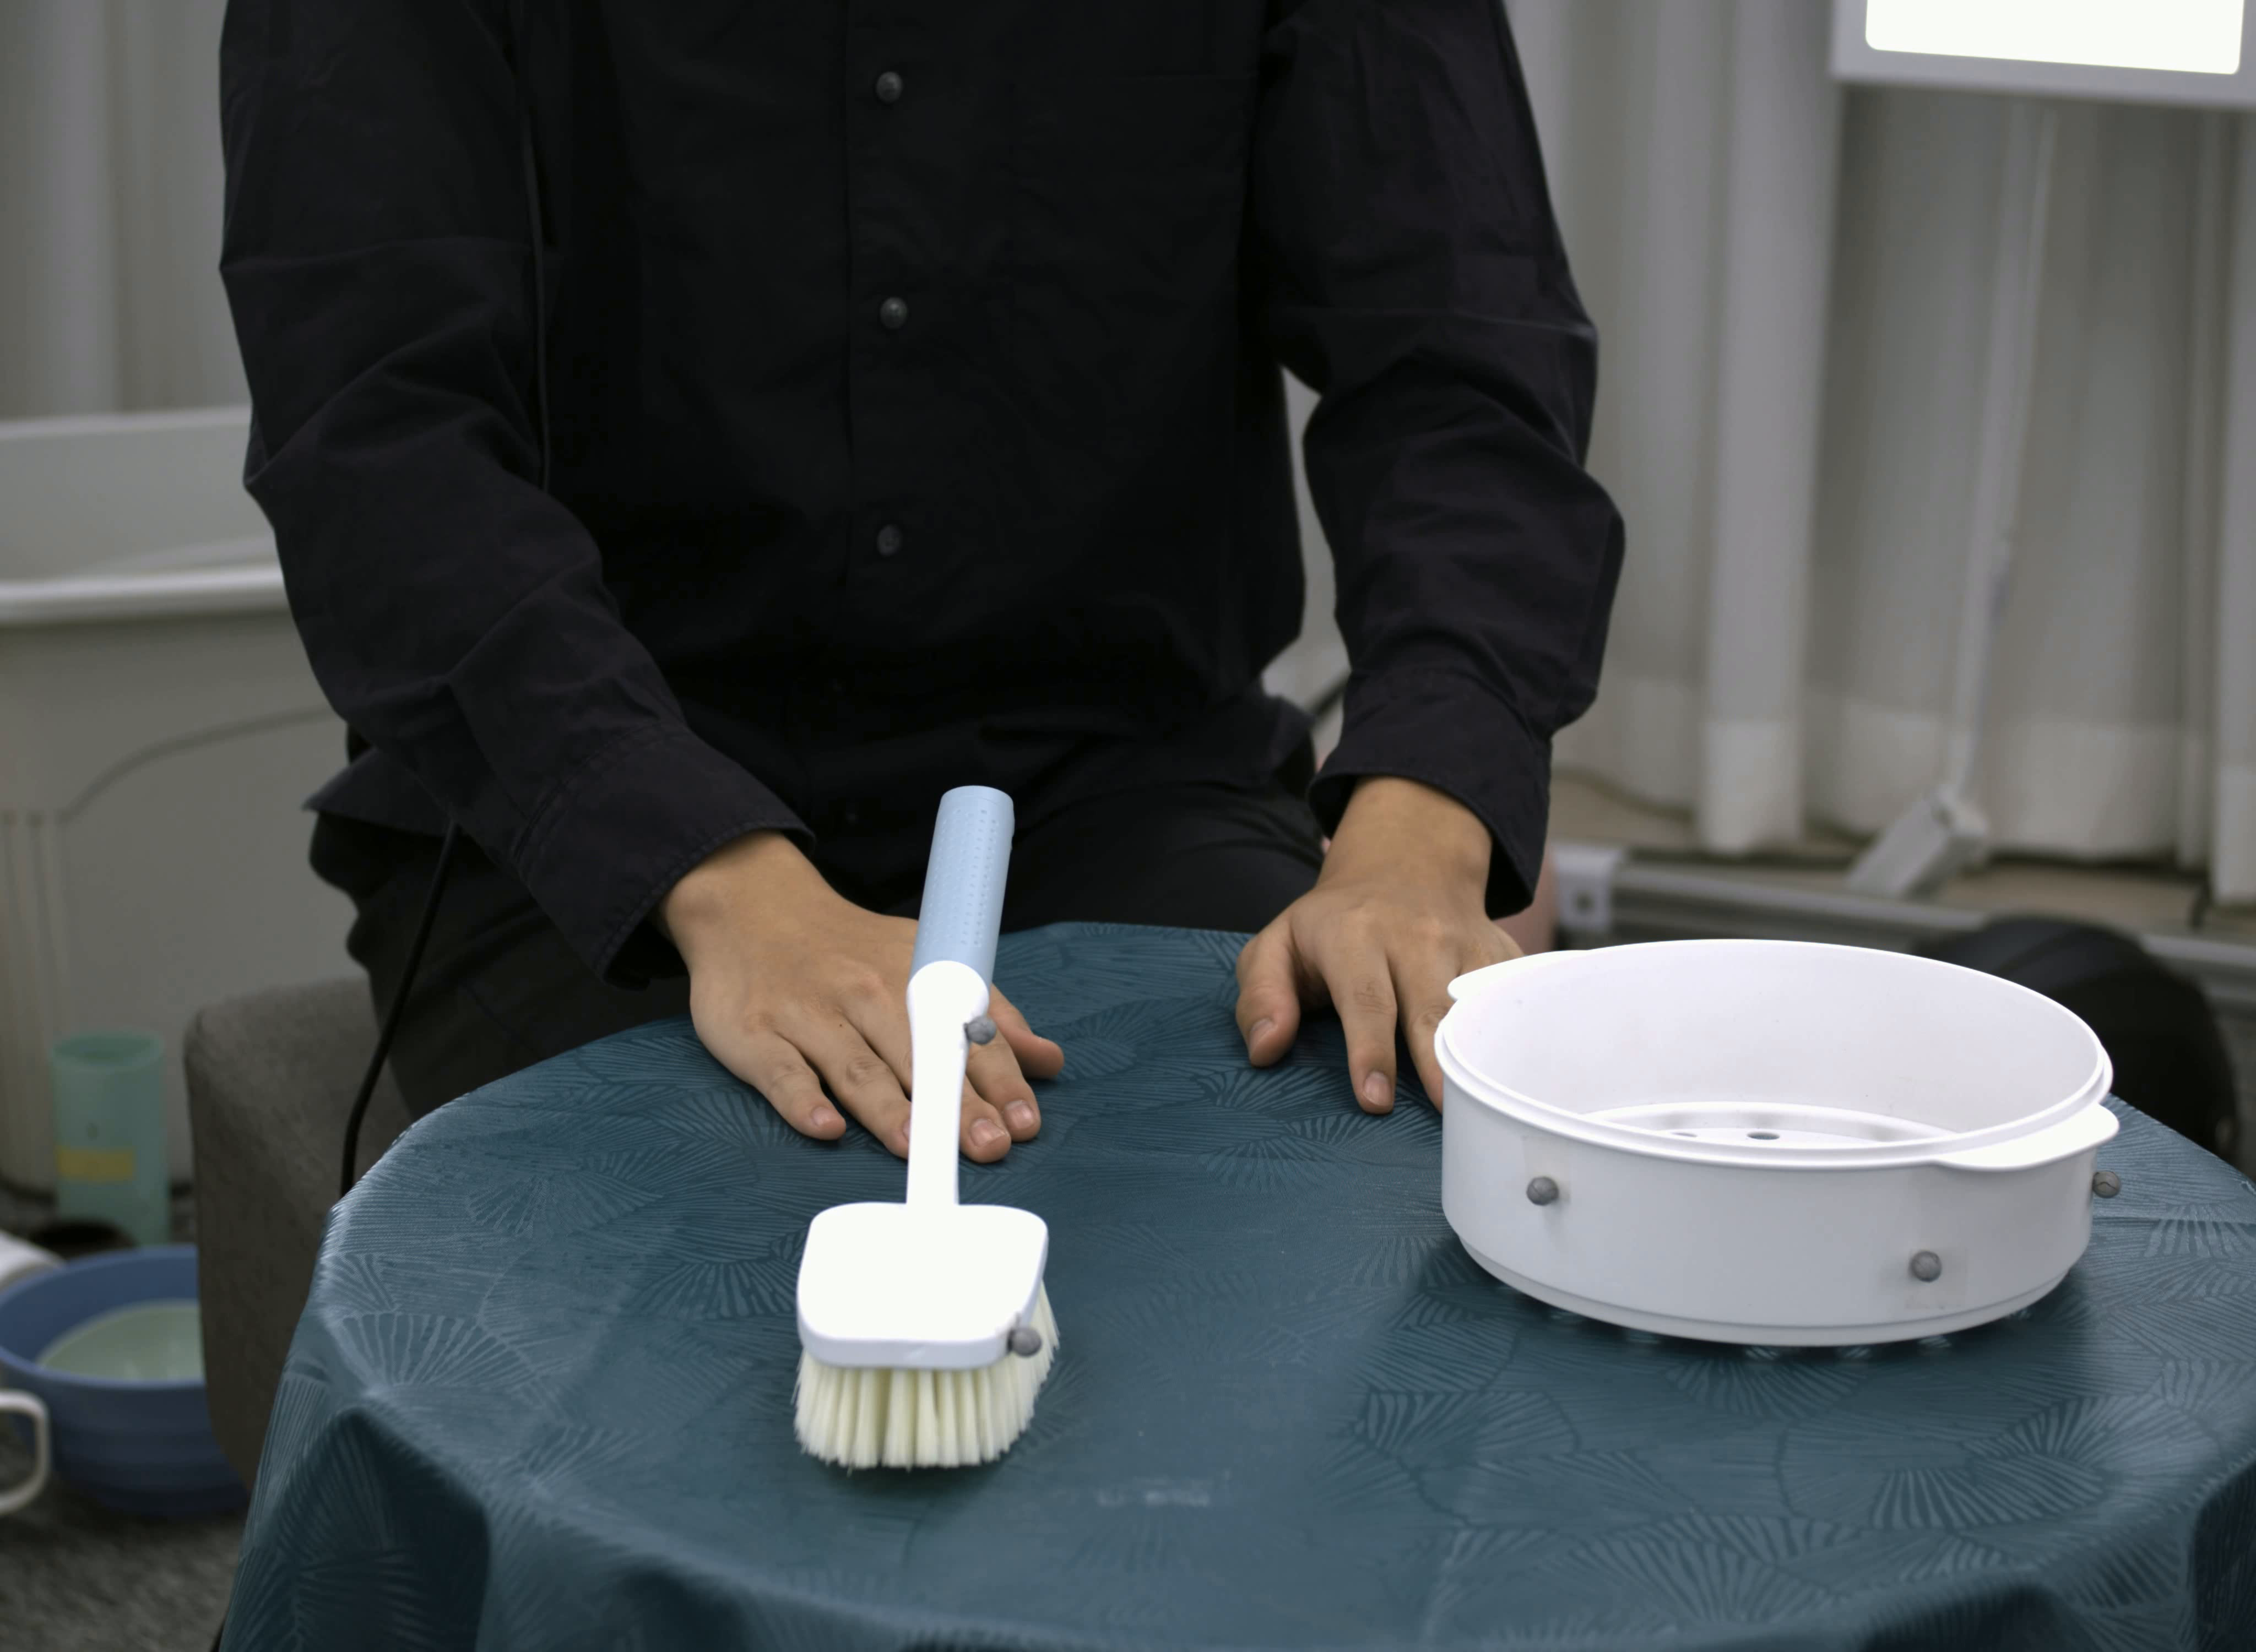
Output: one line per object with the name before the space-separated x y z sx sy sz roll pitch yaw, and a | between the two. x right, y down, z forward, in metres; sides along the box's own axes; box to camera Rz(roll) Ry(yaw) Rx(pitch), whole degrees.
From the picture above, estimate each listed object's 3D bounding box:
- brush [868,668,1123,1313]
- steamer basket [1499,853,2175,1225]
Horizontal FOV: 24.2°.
brush | -0.030 0.061 1.568 0.083 0.084 0.323 35 24 -14
steamer basket | 0.212 0.064 1.600 0.203 0.070 0.227 -12 20 -40
